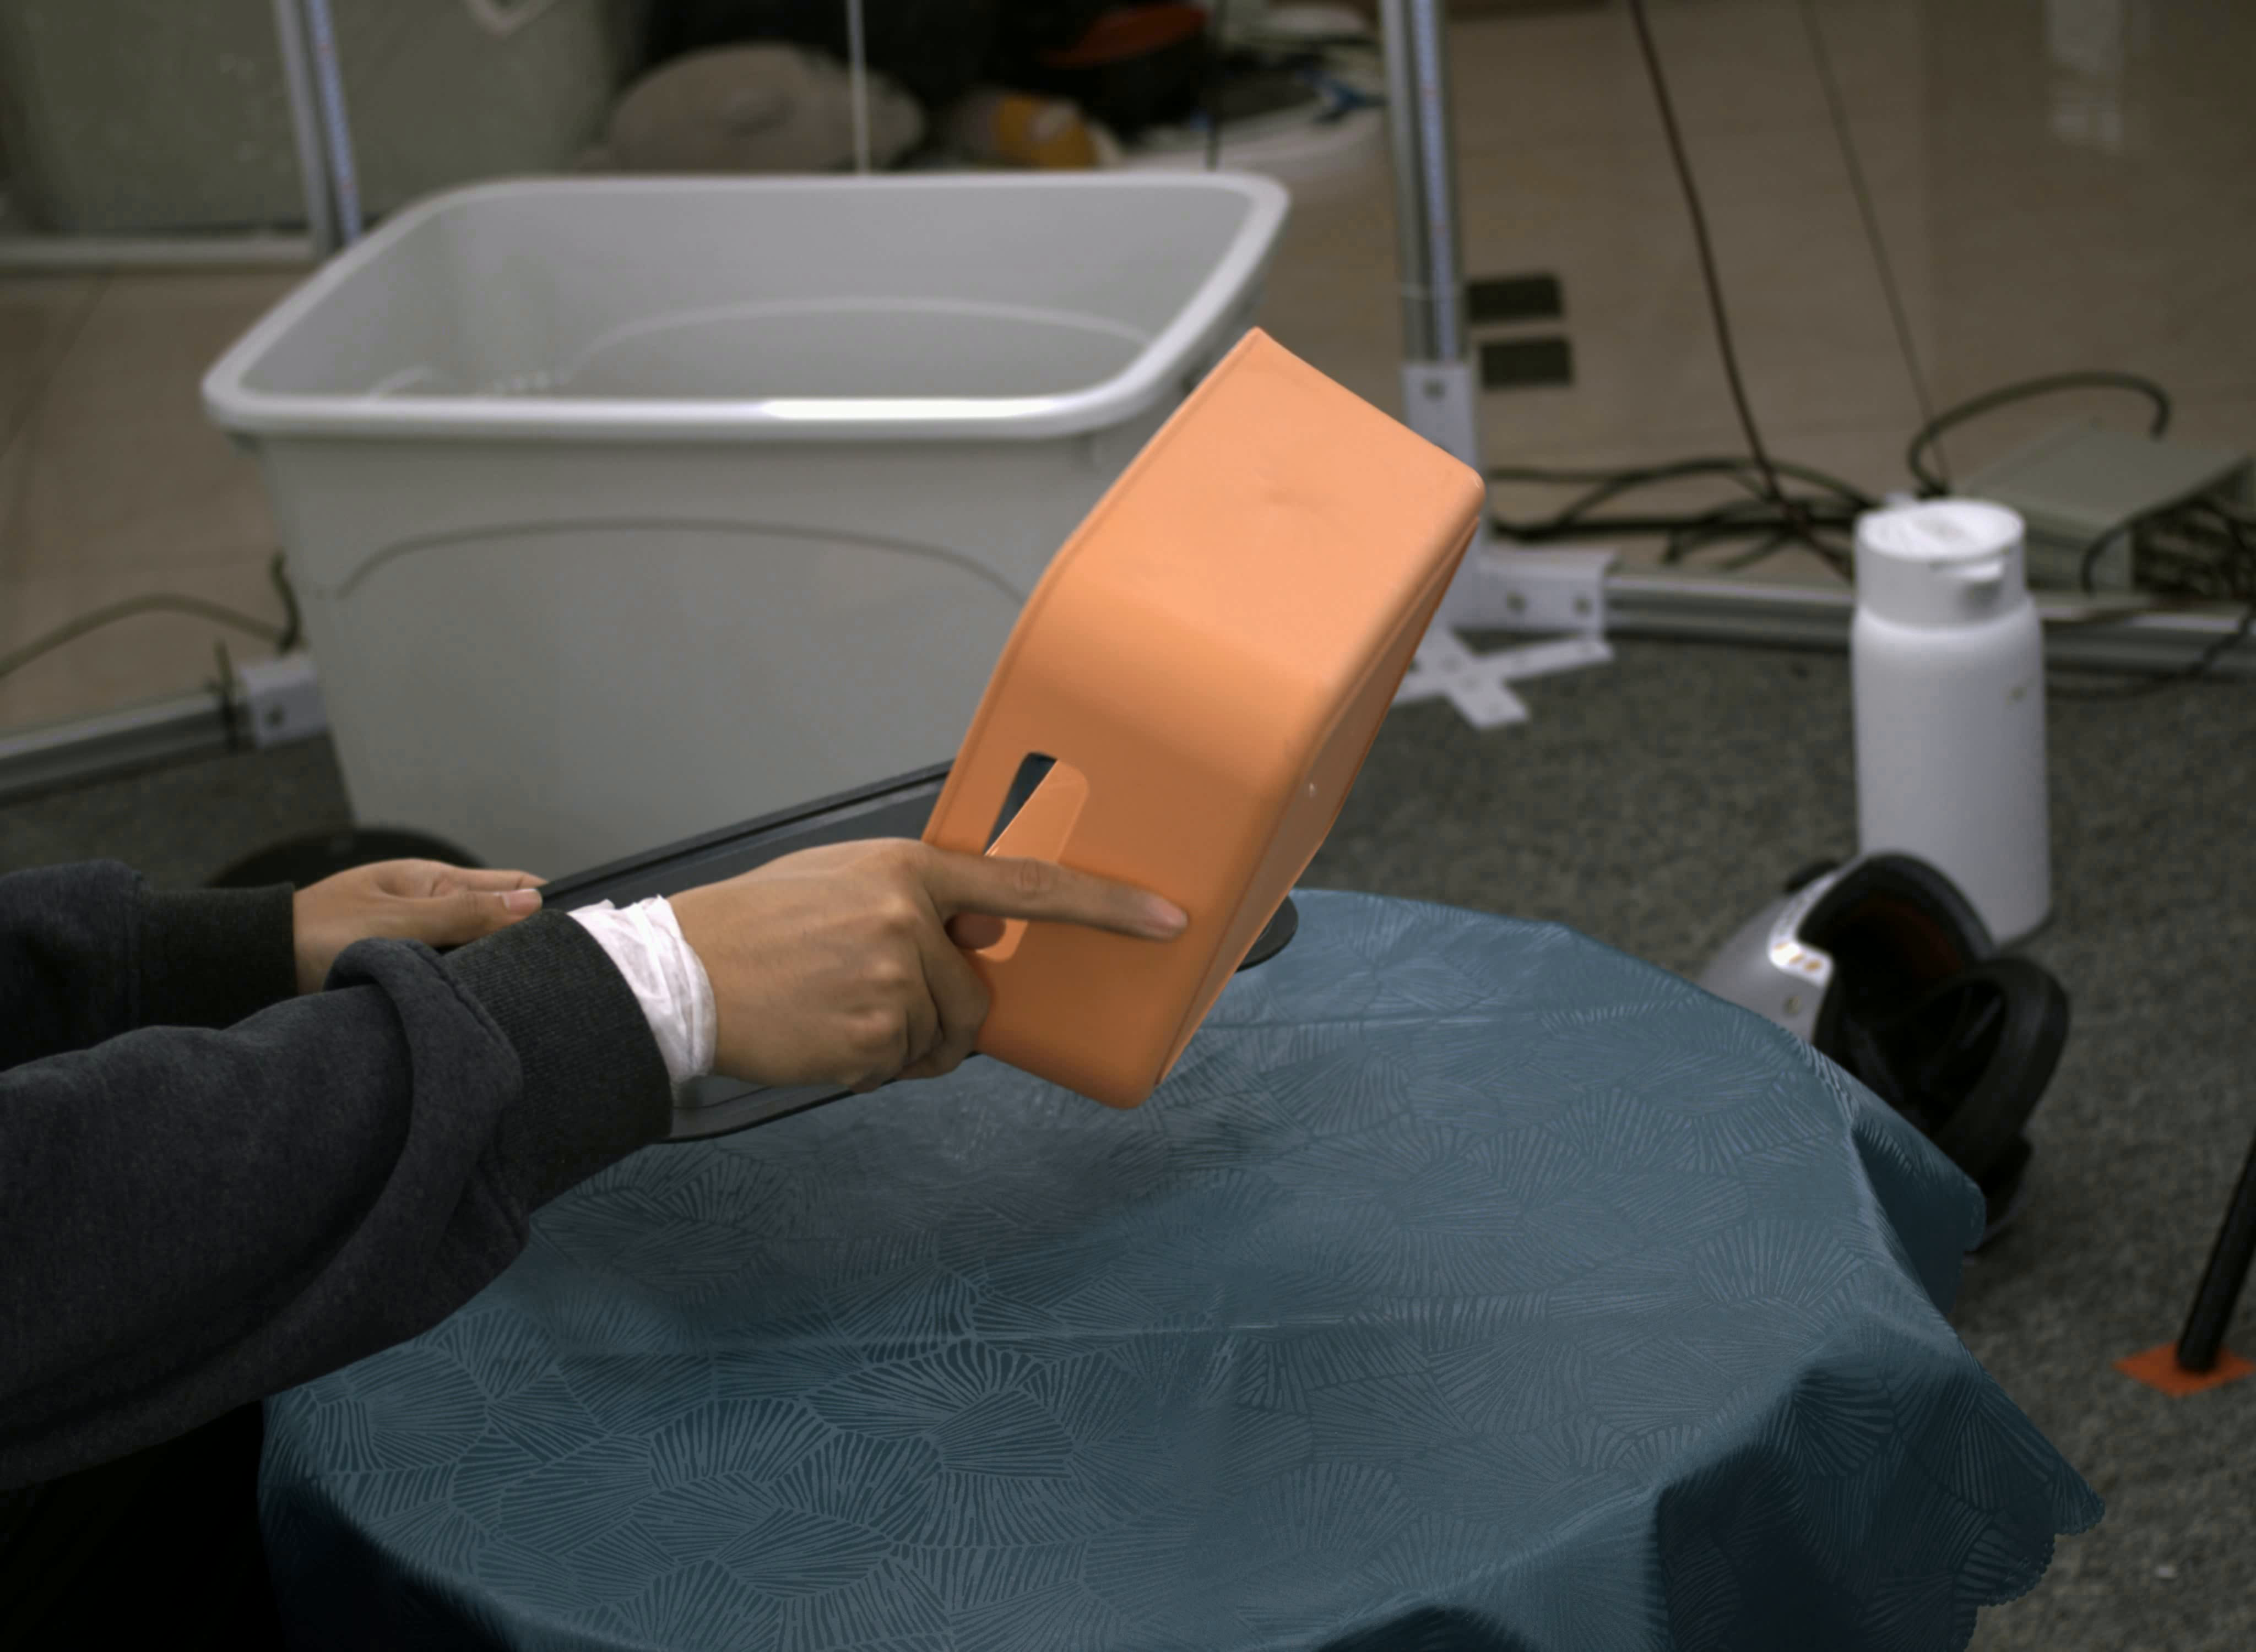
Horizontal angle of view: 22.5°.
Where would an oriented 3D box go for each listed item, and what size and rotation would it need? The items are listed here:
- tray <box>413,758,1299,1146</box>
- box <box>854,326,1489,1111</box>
[{"bbox_3d":[-0.109,0.043,2.157,0.324,0.010,0.208,-17,32,-26],"label":"tray"},{"bbox_3d":[0.021,-0.033,1.916,0.102,0.202,0.269,29,31,5],"label":"box"}]
